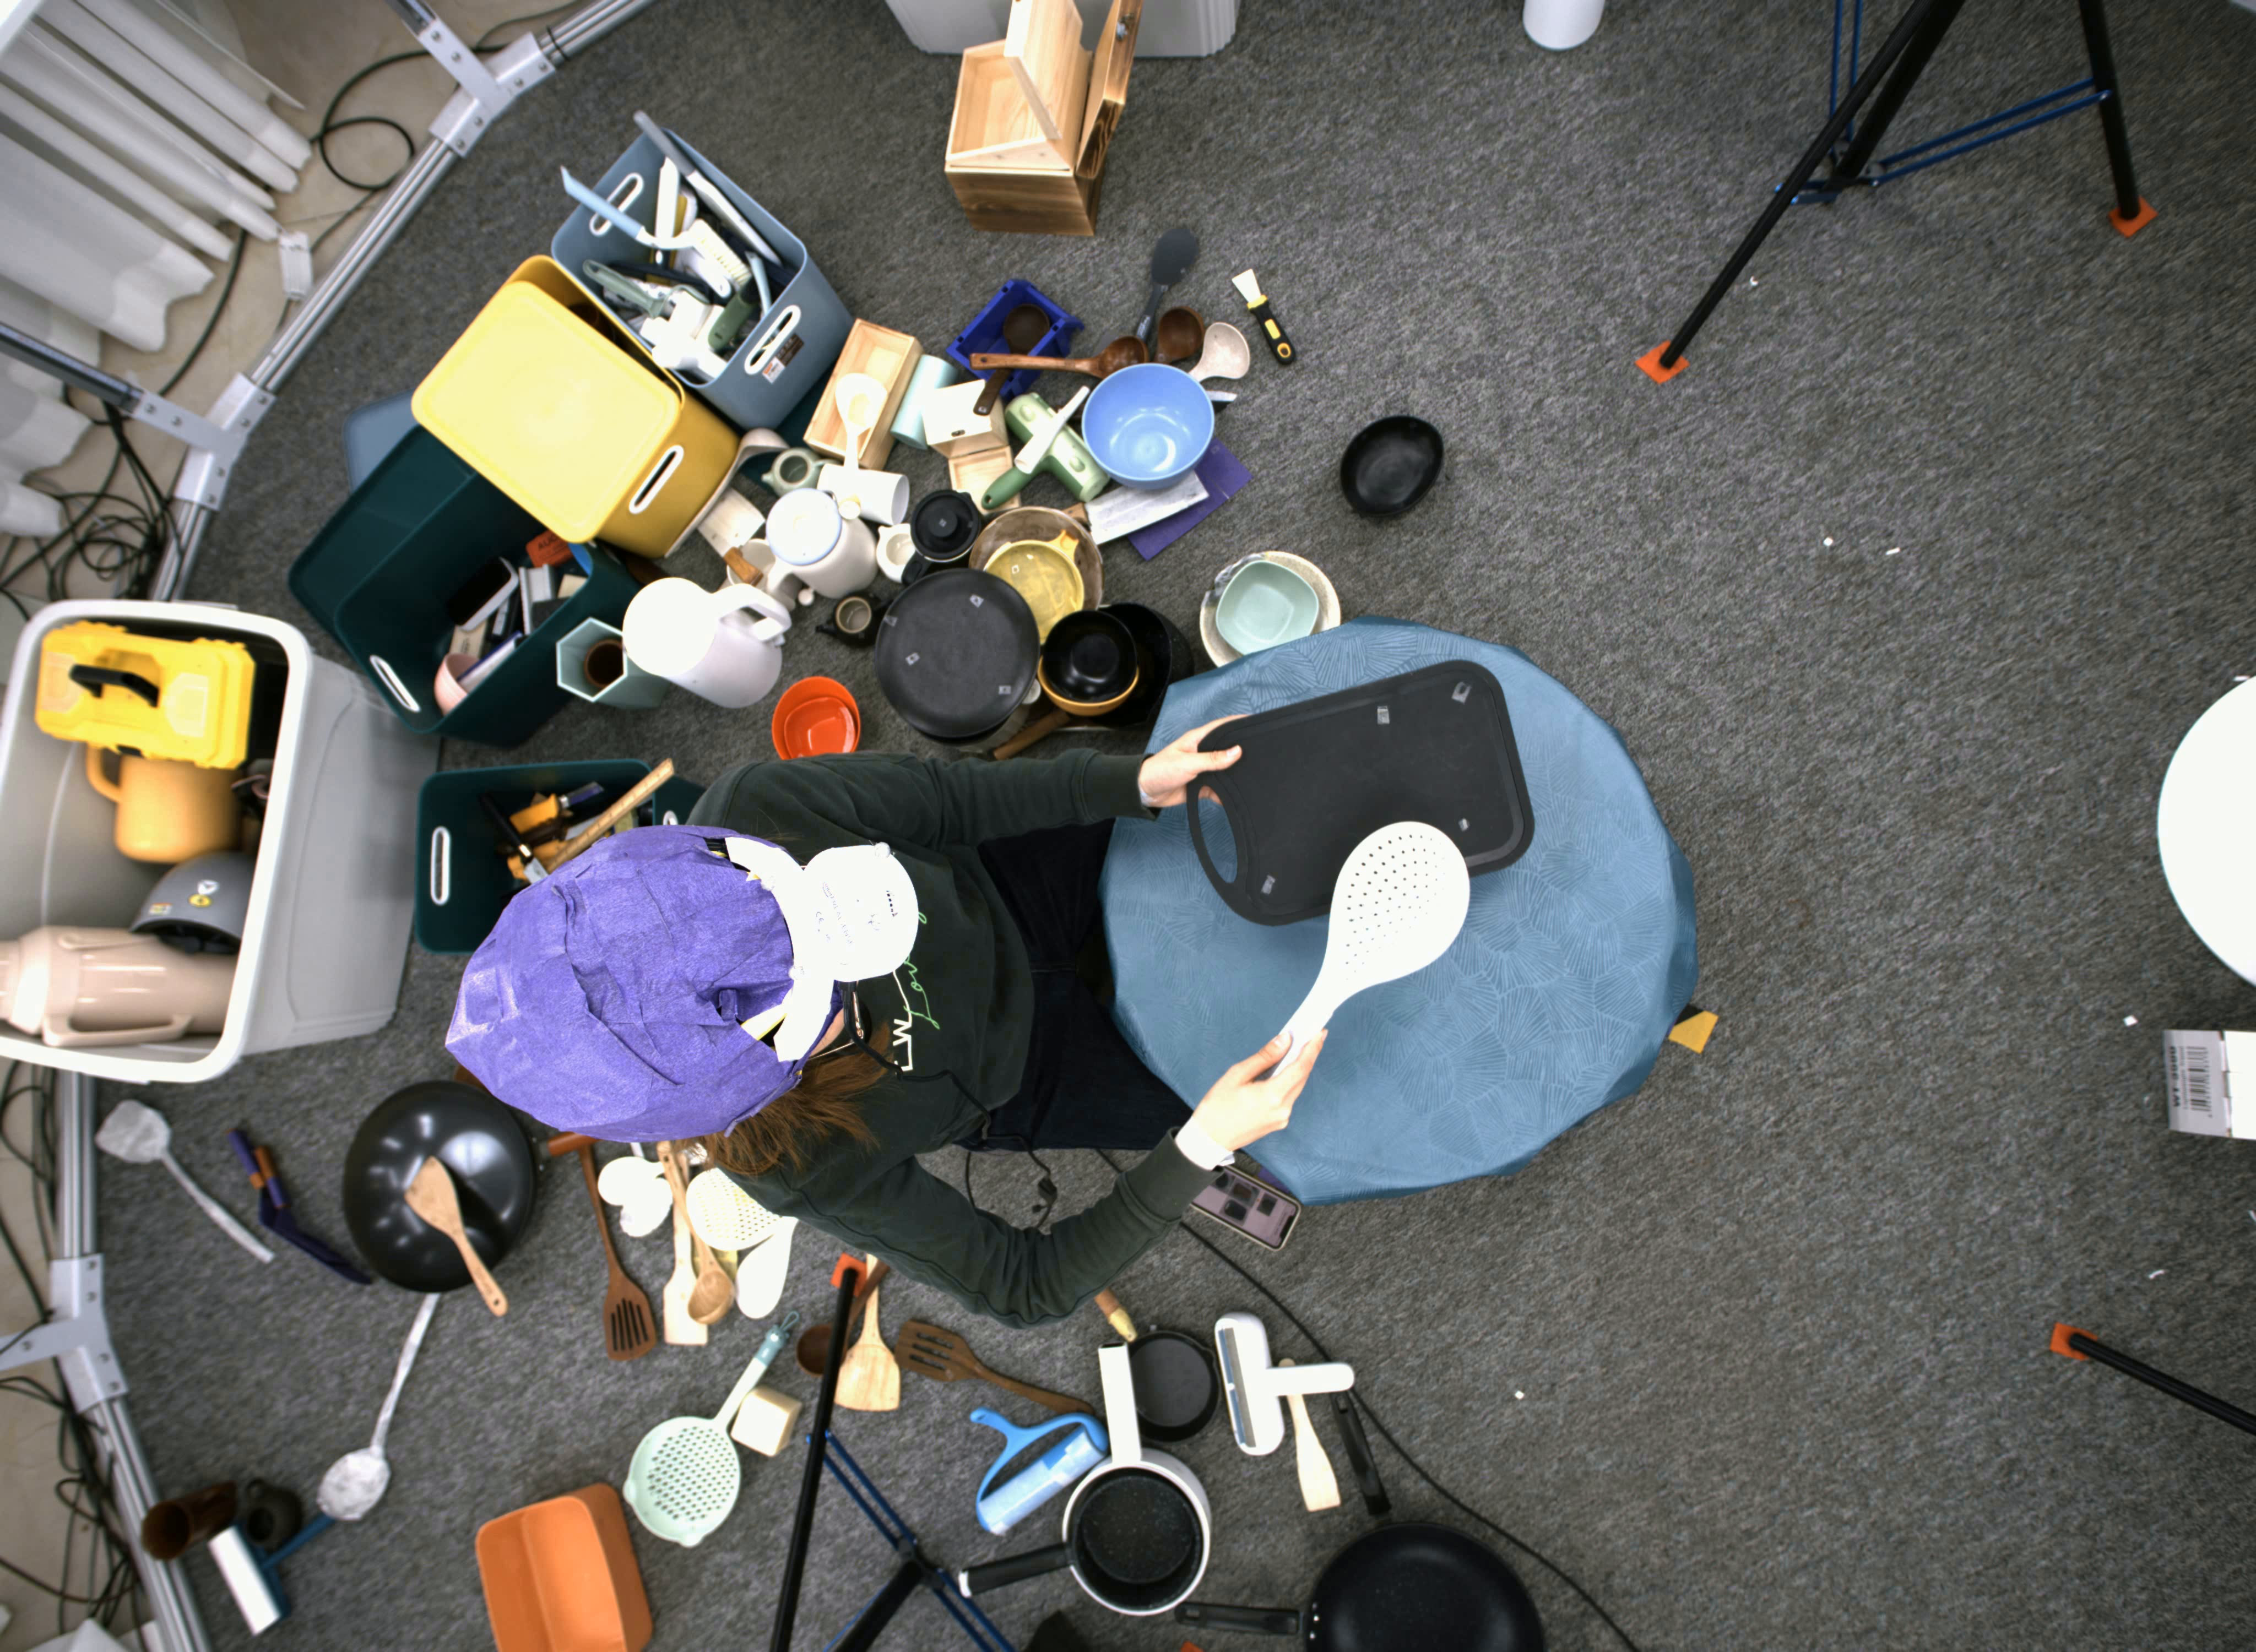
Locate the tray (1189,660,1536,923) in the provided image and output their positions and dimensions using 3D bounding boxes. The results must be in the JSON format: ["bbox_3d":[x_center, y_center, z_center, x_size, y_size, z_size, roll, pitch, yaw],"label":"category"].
[{"bbox_3d":[0.223,-0.029,1.341,0.327,0.009,0.212,-15,99,9],"label":"tray"}]

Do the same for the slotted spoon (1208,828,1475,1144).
[{"bbox_3d":[0.186,0.153,1.254,0.353,0.046,0.134,-51,50,11],"label":"slotted spoon"}]
